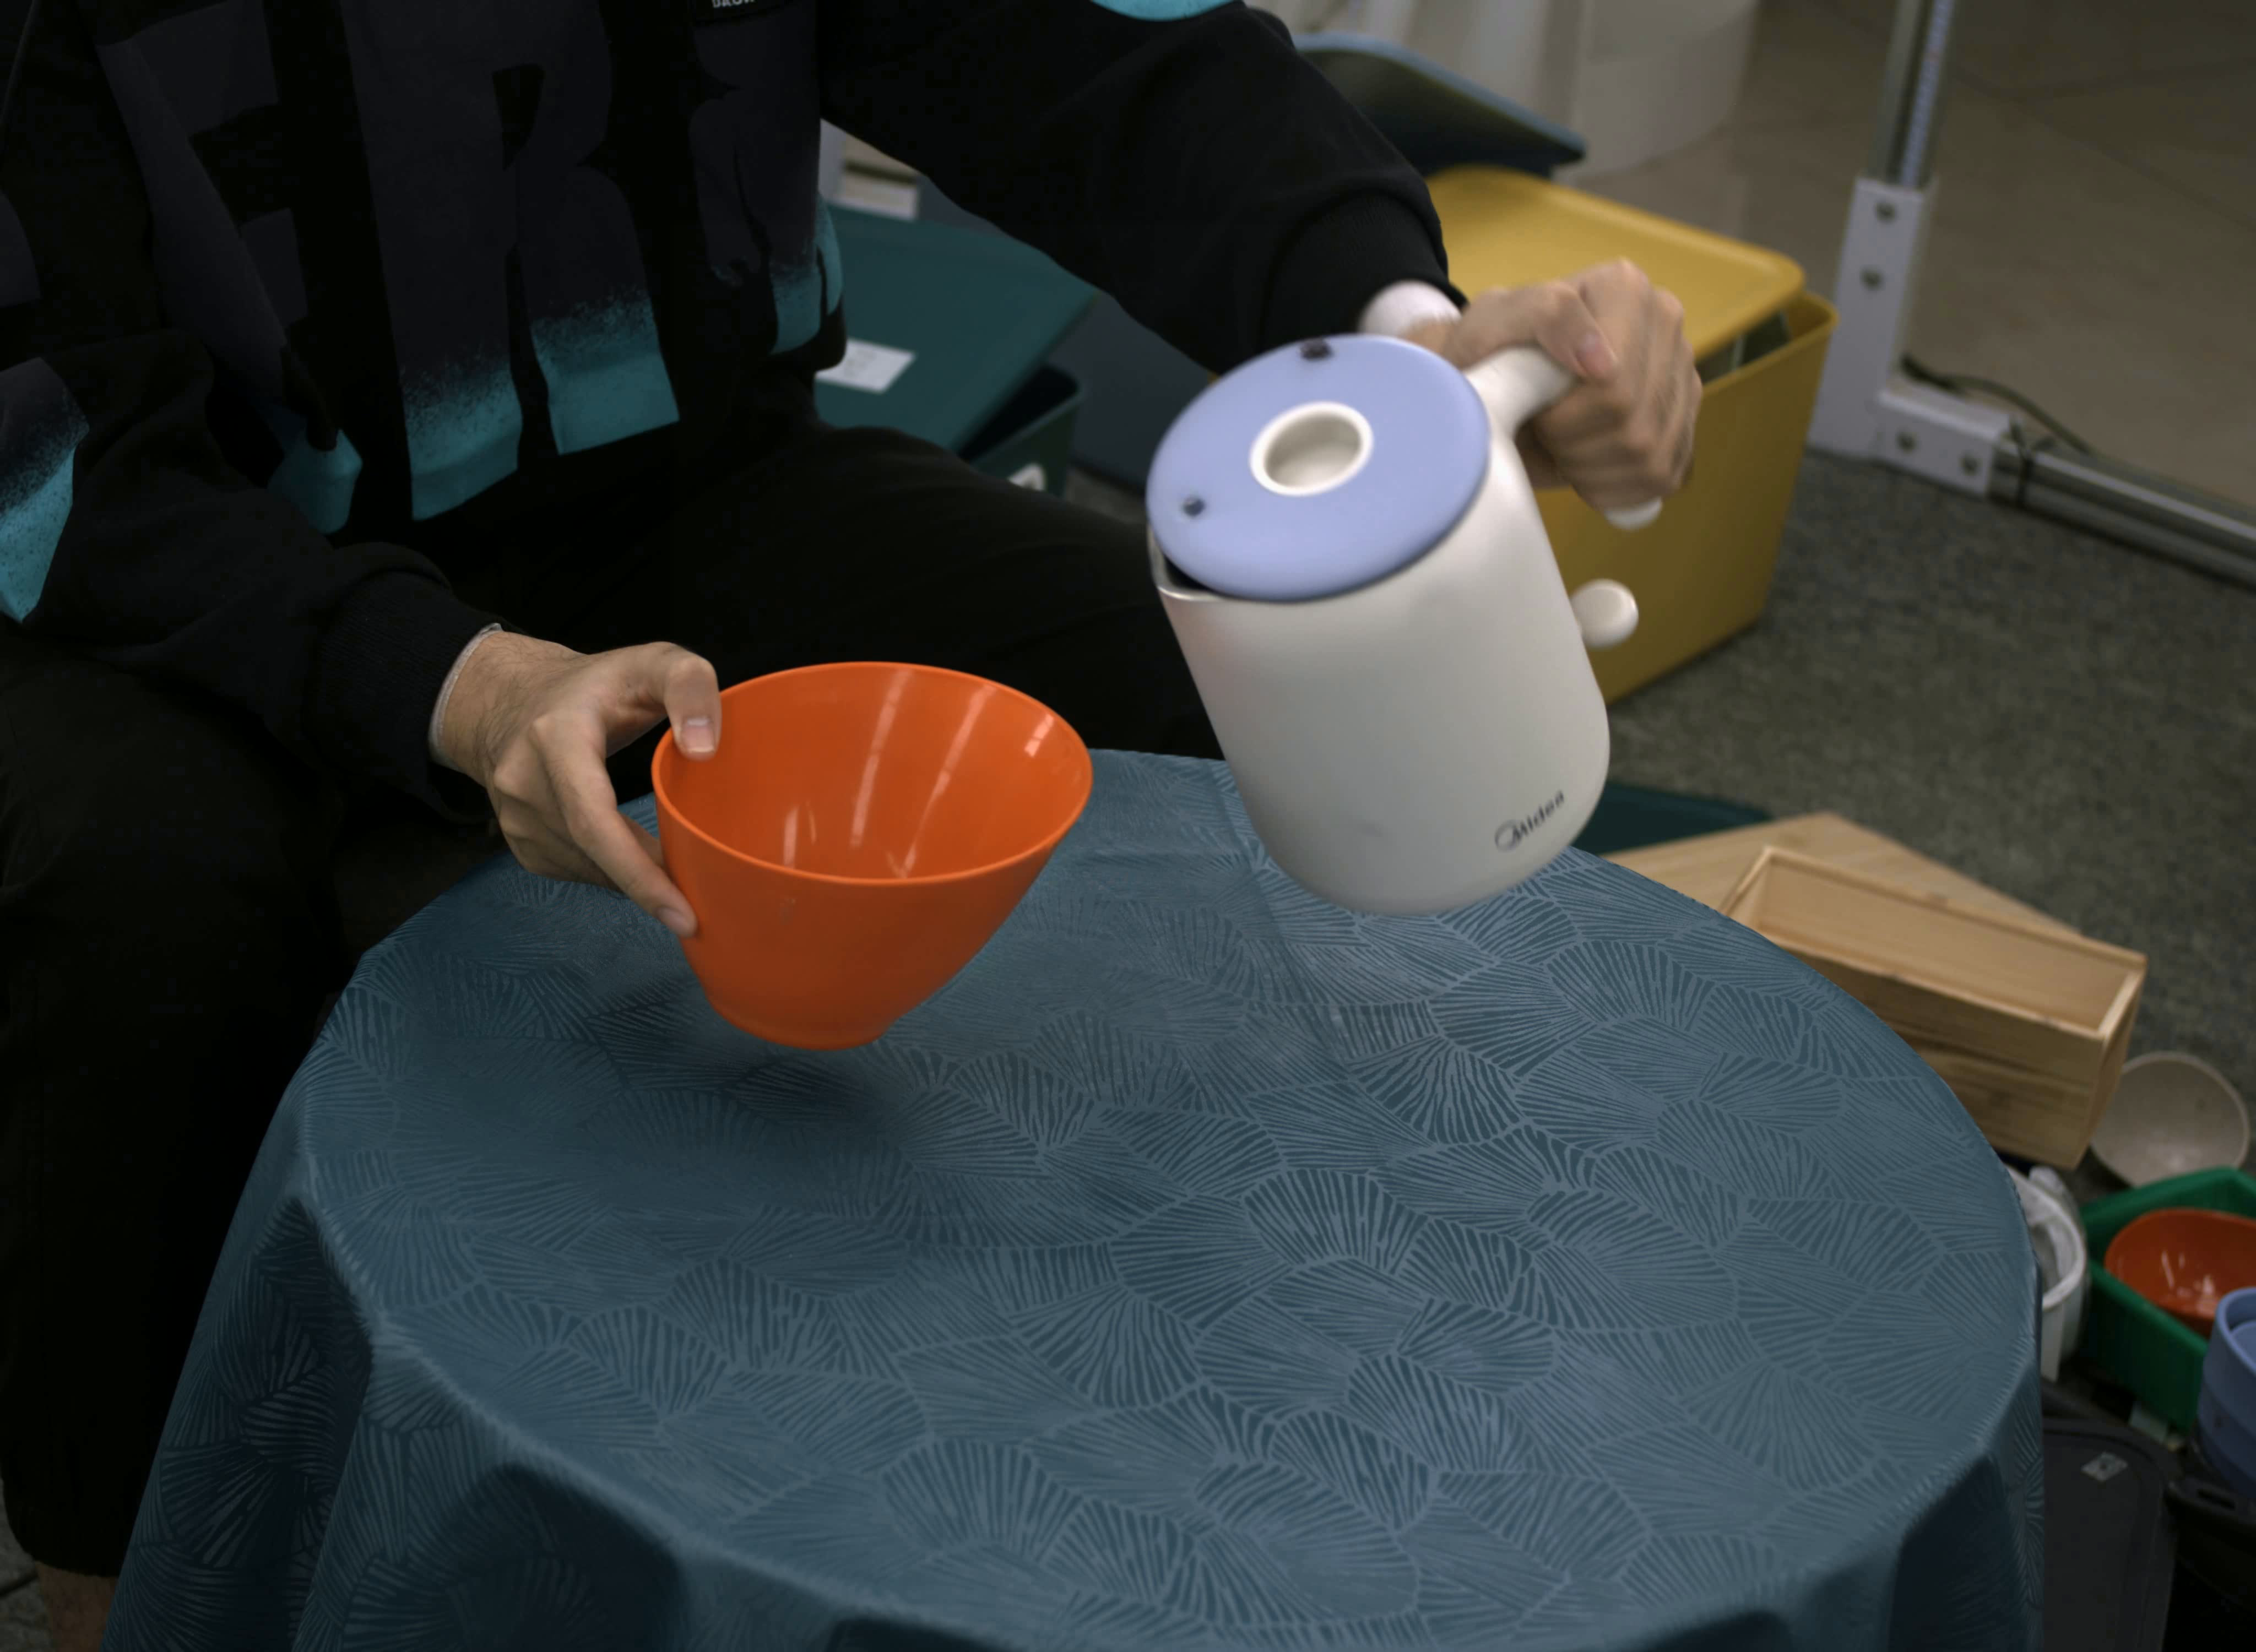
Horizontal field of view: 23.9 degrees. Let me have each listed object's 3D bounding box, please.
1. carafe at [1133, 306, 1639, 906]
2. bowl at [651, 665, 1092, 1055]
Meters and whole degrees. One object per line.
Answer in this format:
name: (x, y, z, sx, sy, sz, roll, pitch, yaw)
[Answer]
carafe: (0.100, -0.087, 1.827, 0.191, 0.181, 0.133, -38, 48, -16)
bowl: (-0.094, 0.017, 1.812, 0.147, 0.104, 0.149, 11, 26, -6)
